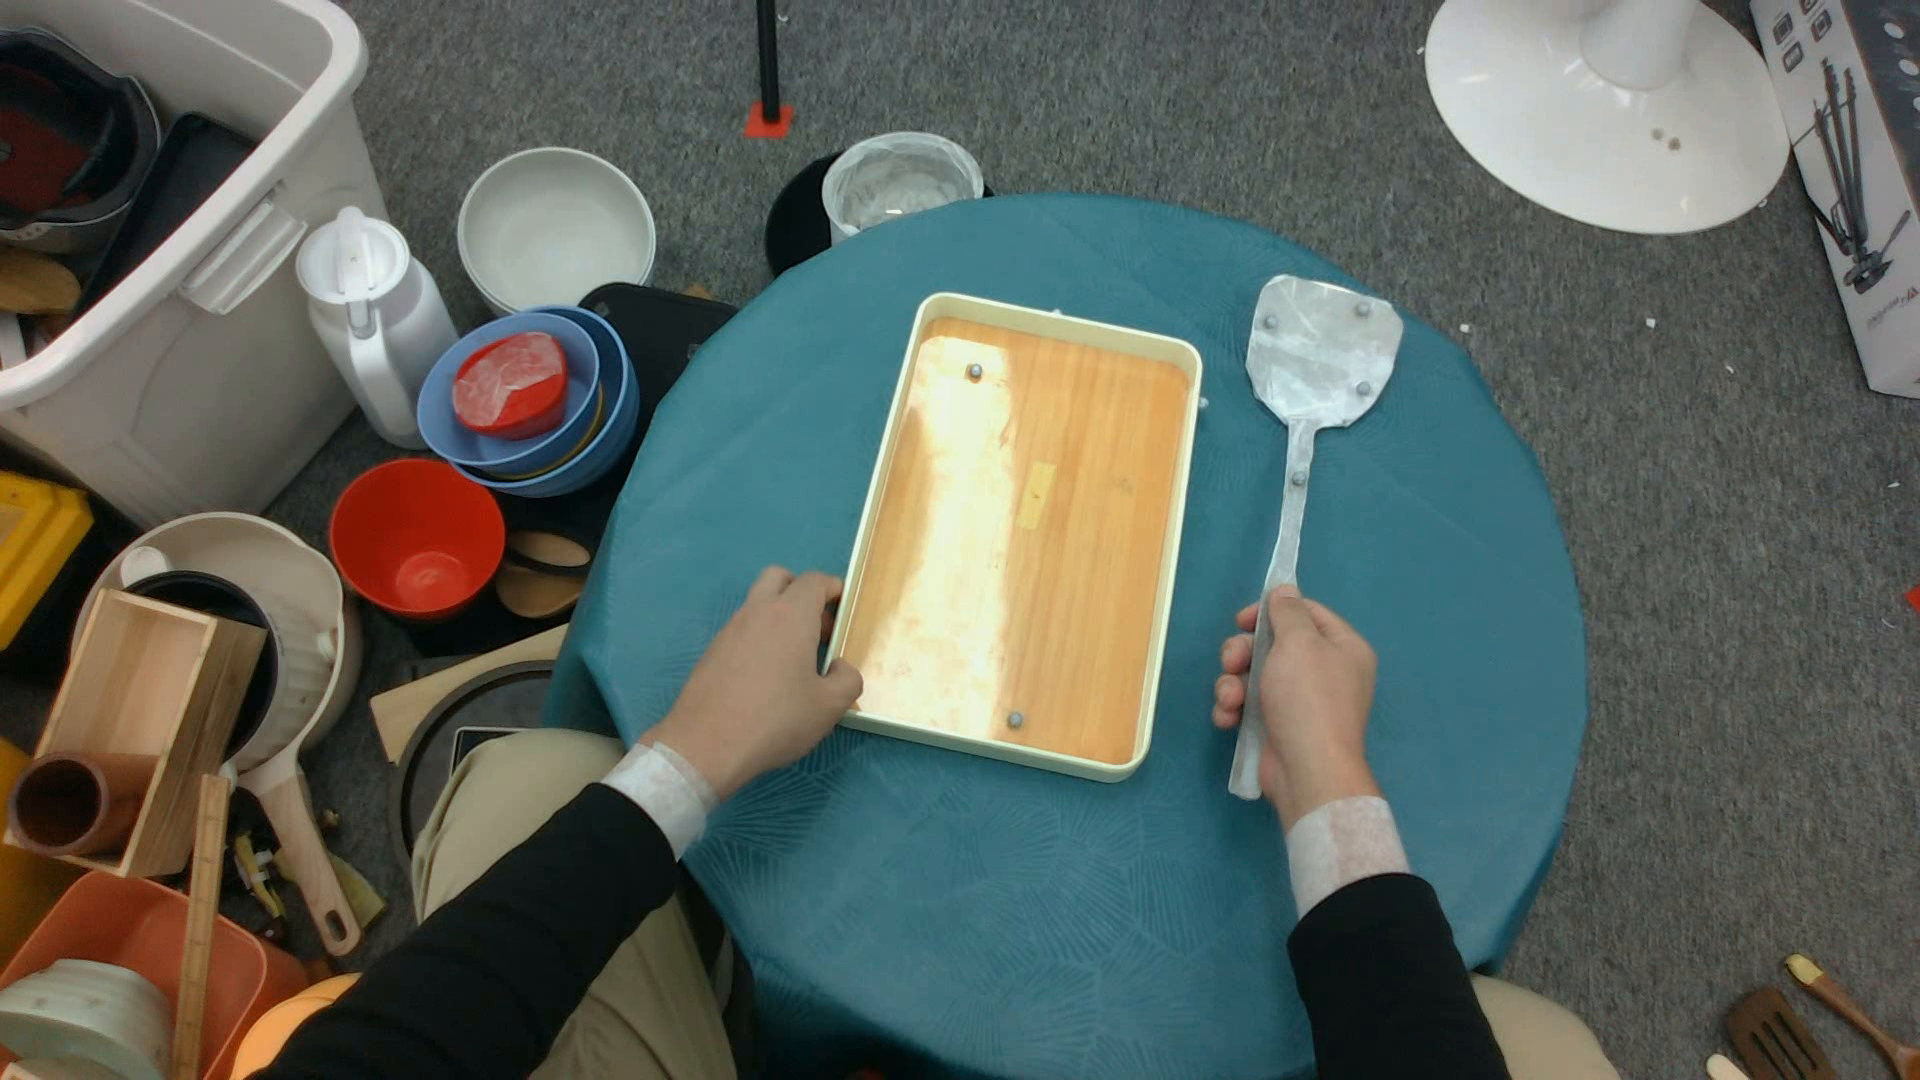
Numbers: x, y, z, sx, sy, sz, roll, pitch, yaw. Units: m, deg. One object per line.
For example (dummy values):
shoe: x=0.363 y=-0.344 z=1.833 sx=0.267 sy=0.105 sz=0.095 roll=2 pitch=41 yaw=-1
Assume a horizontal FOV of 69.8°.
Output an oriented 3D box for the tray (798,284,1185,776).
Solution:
tray: x=0.026 y=-0.016 z=0.841 sx=0.191 sy=0.027 sz=0.301 roll=12 pitch=62 yaw=1

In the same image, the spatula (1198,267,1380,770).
spatula: x=0.191 y=-0.024 z=0.839 sx=0.099 sy=0.044 sz=0.367 roll=18 pitch=55 yaw=1
